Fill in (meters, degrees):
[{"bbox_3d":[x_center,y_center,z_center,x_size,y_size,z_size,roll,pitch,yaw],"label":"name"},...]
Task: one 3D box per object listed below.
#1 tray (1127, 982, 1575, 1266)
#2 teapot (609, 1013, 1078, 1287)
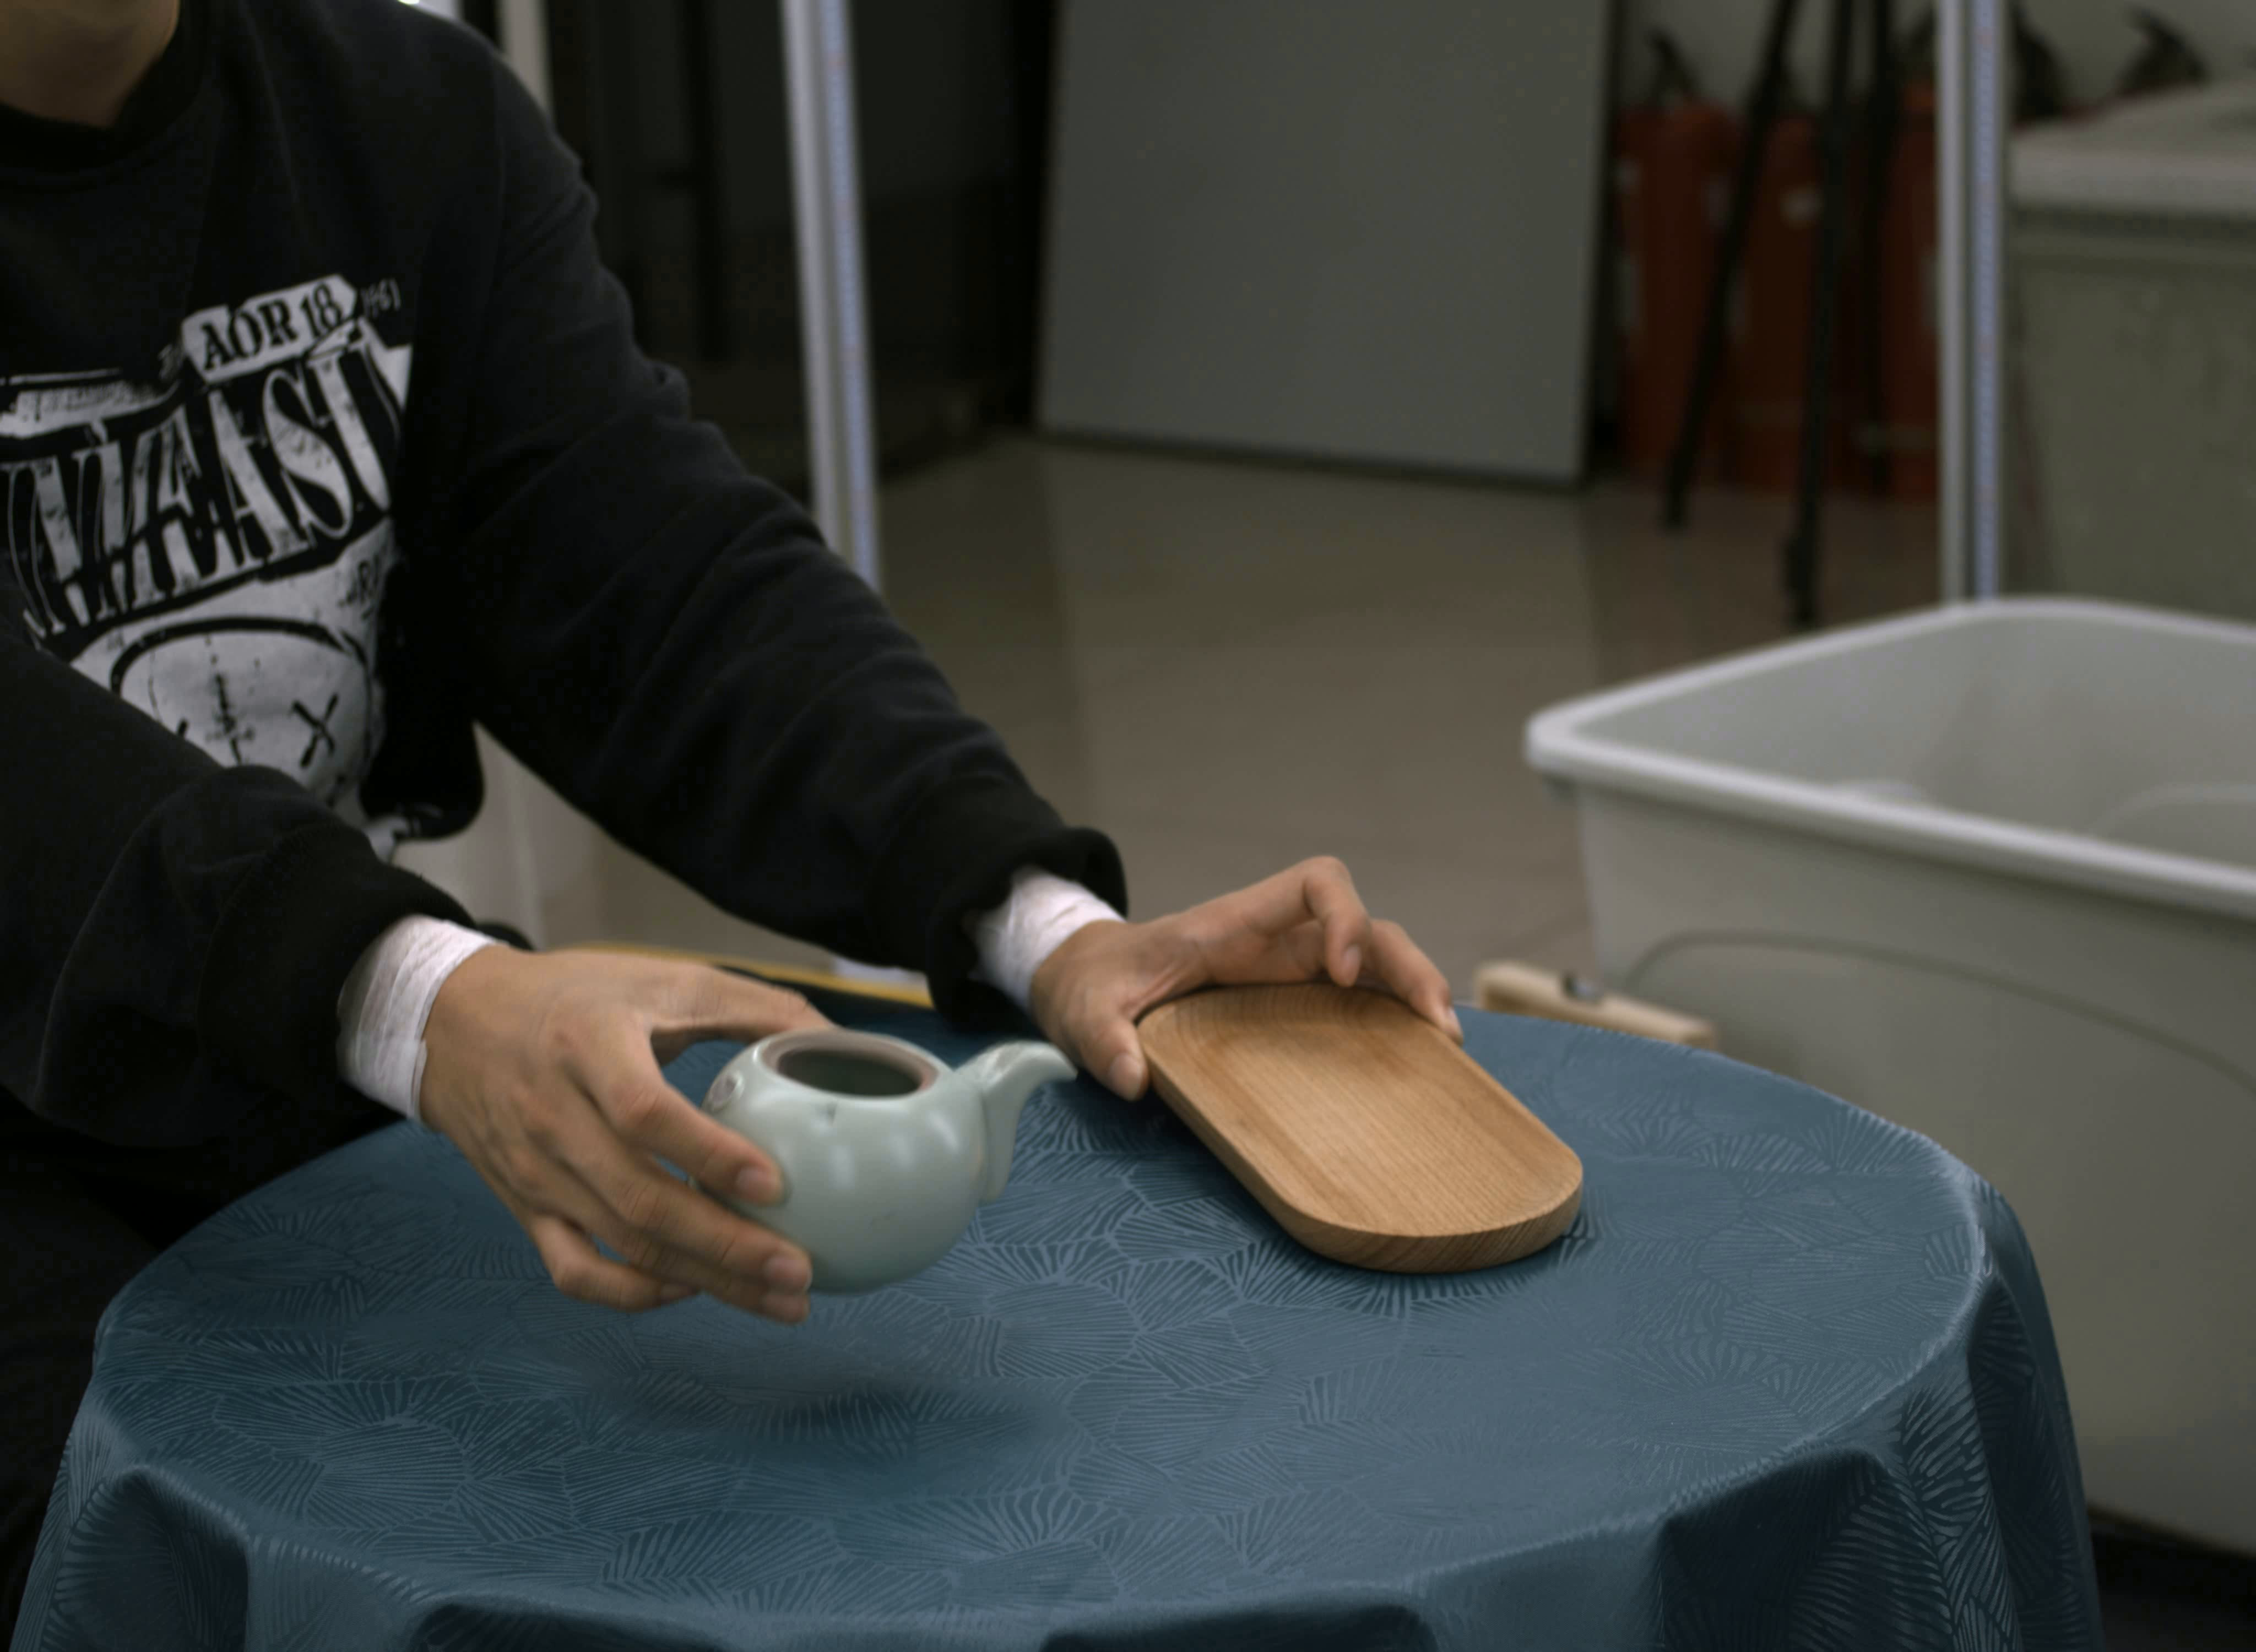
[{"bbox_3d":[0.071,0.096,1.775,0.099,0.020,0.233,-7,18,-17],"label":"tray"},{"bbox_3d":[-0.086,0.094,1.594,0.141,0.075,0.089,4,17,-19],"label":"teapot"}]
